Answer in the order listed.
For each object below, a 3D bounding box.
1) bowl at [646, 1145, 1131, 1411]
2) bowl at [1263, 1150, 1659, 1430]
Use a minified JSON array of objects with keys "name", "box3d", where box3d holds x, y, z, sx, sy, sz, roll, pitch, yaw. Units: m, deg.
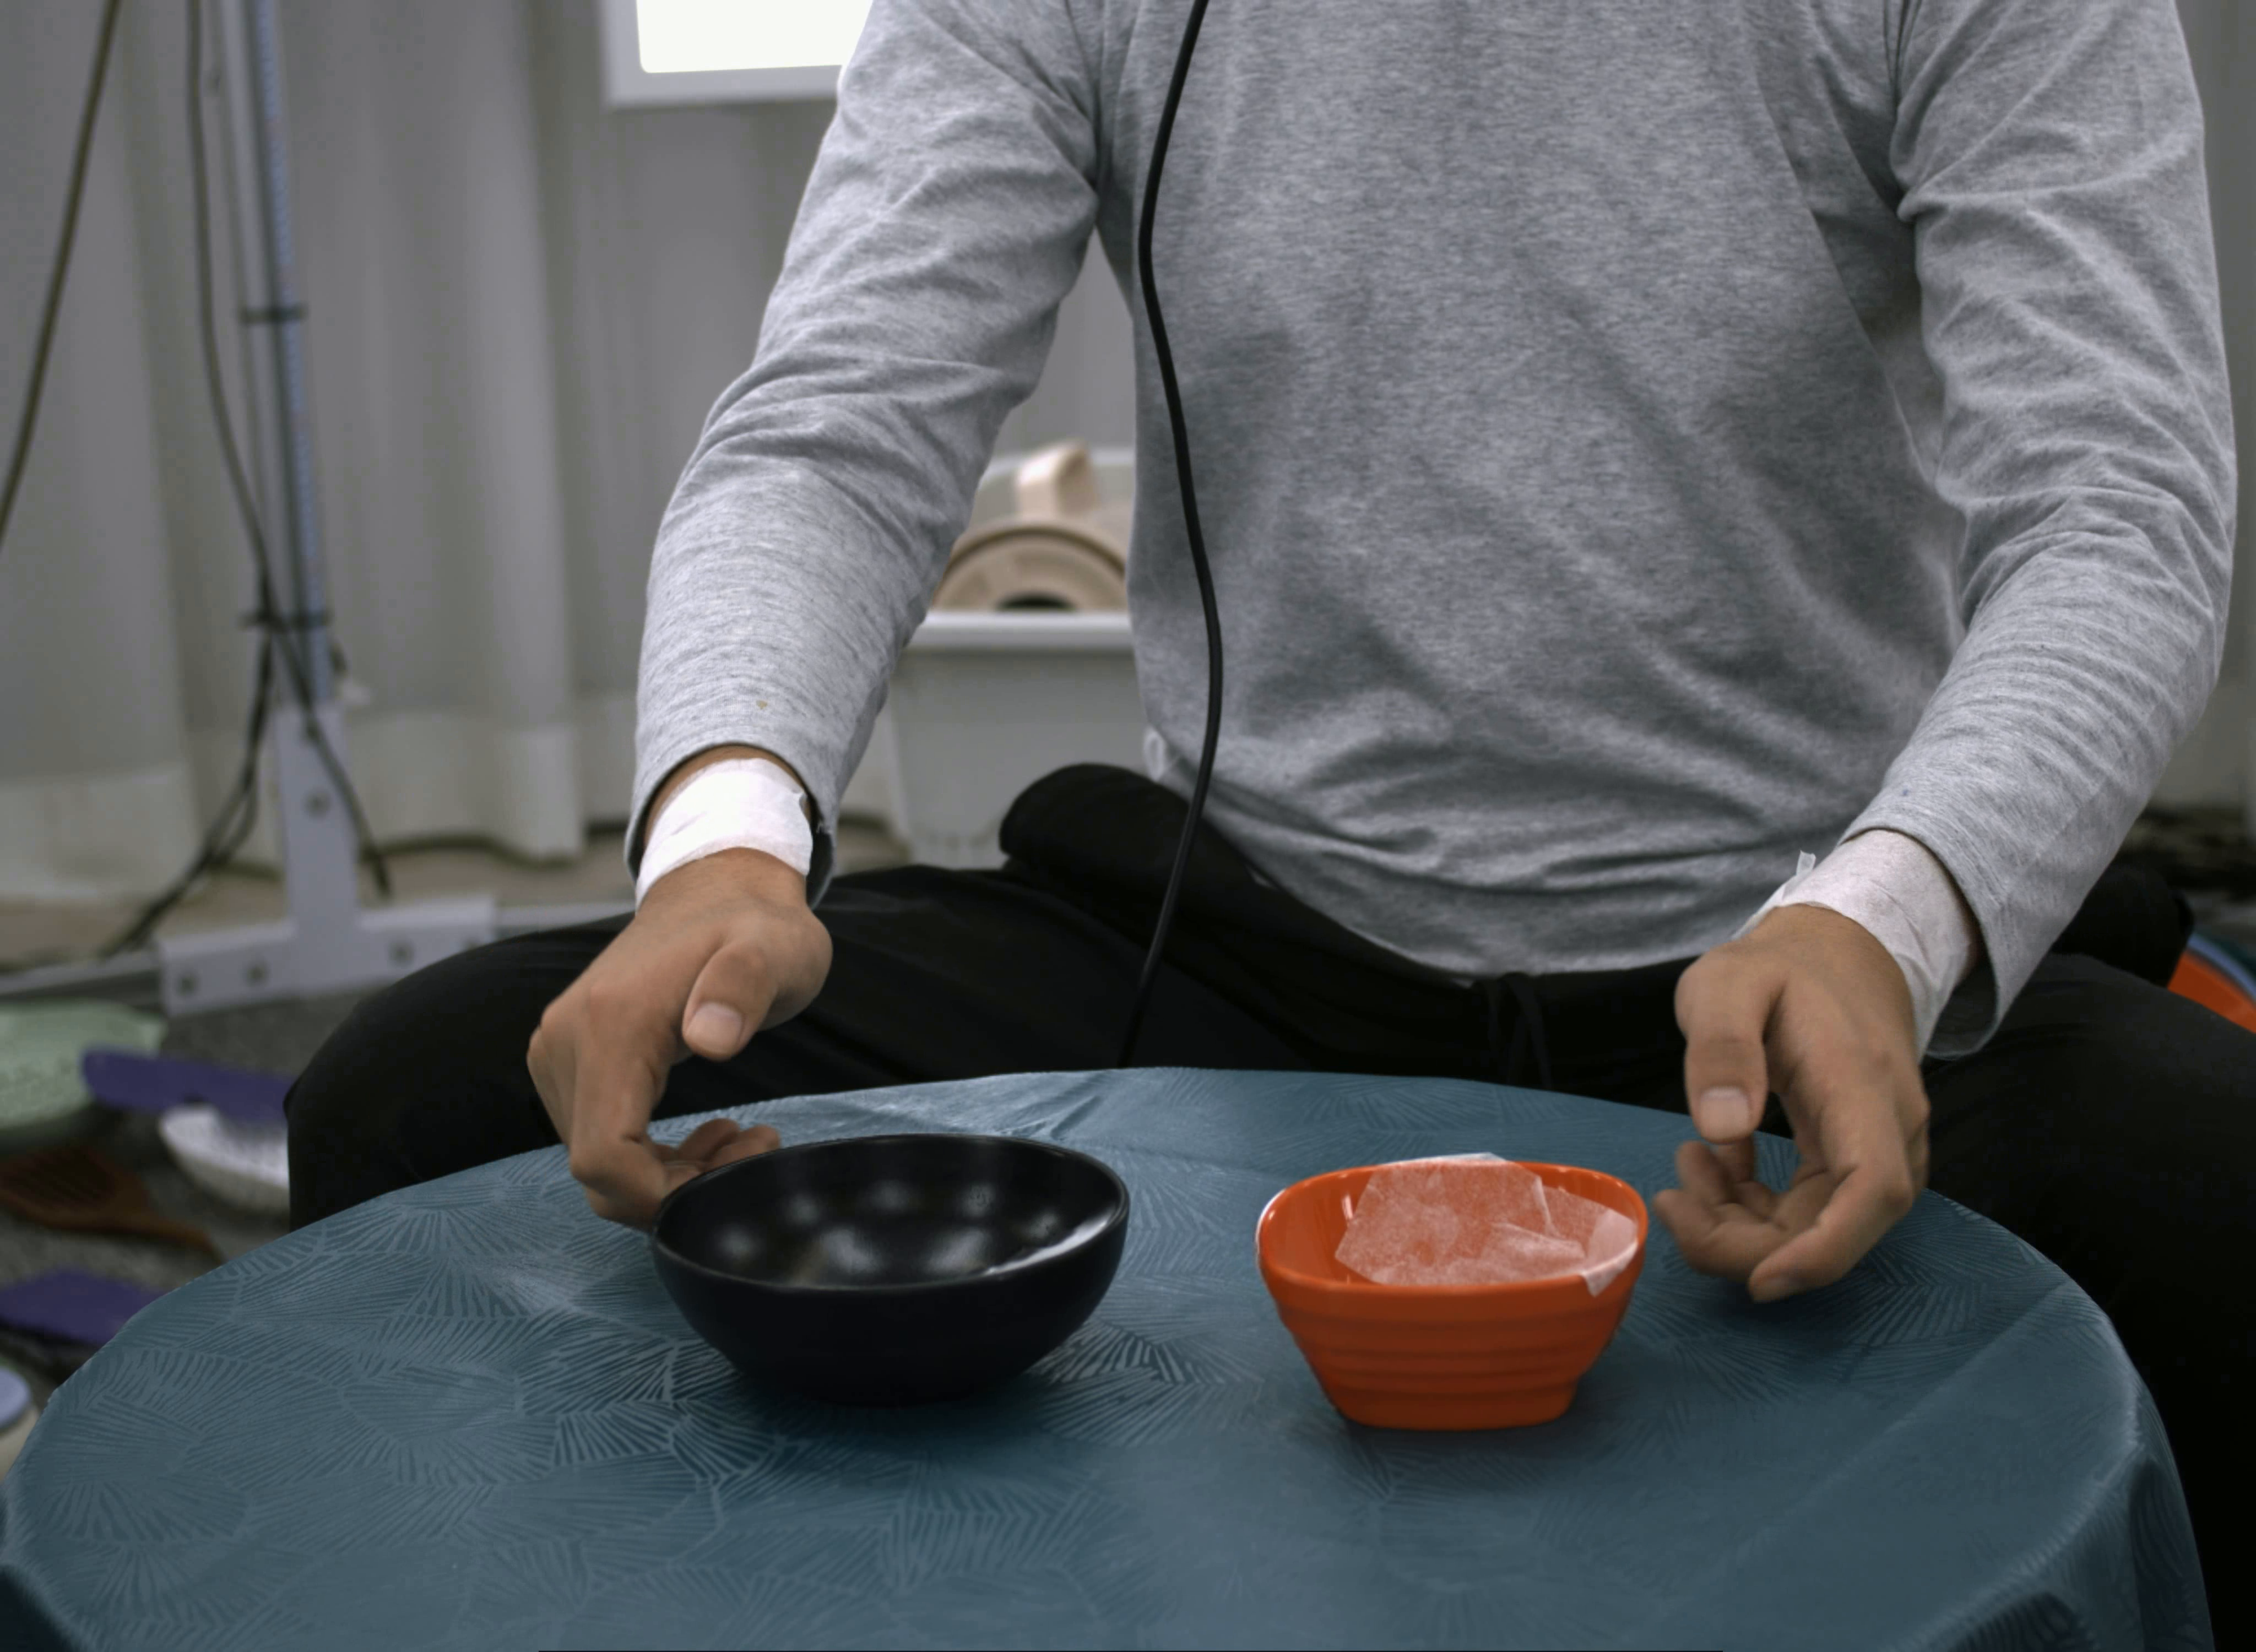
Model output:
[{"name":"bowl","box3d":[-0.068,0.134,1.570,0.139,0.049,0.141,-1,12,0]},{"name":"bowl","box3d":[0.094,0.133,1.527,0.118,0.051,0.120,-4,16,1]}]
